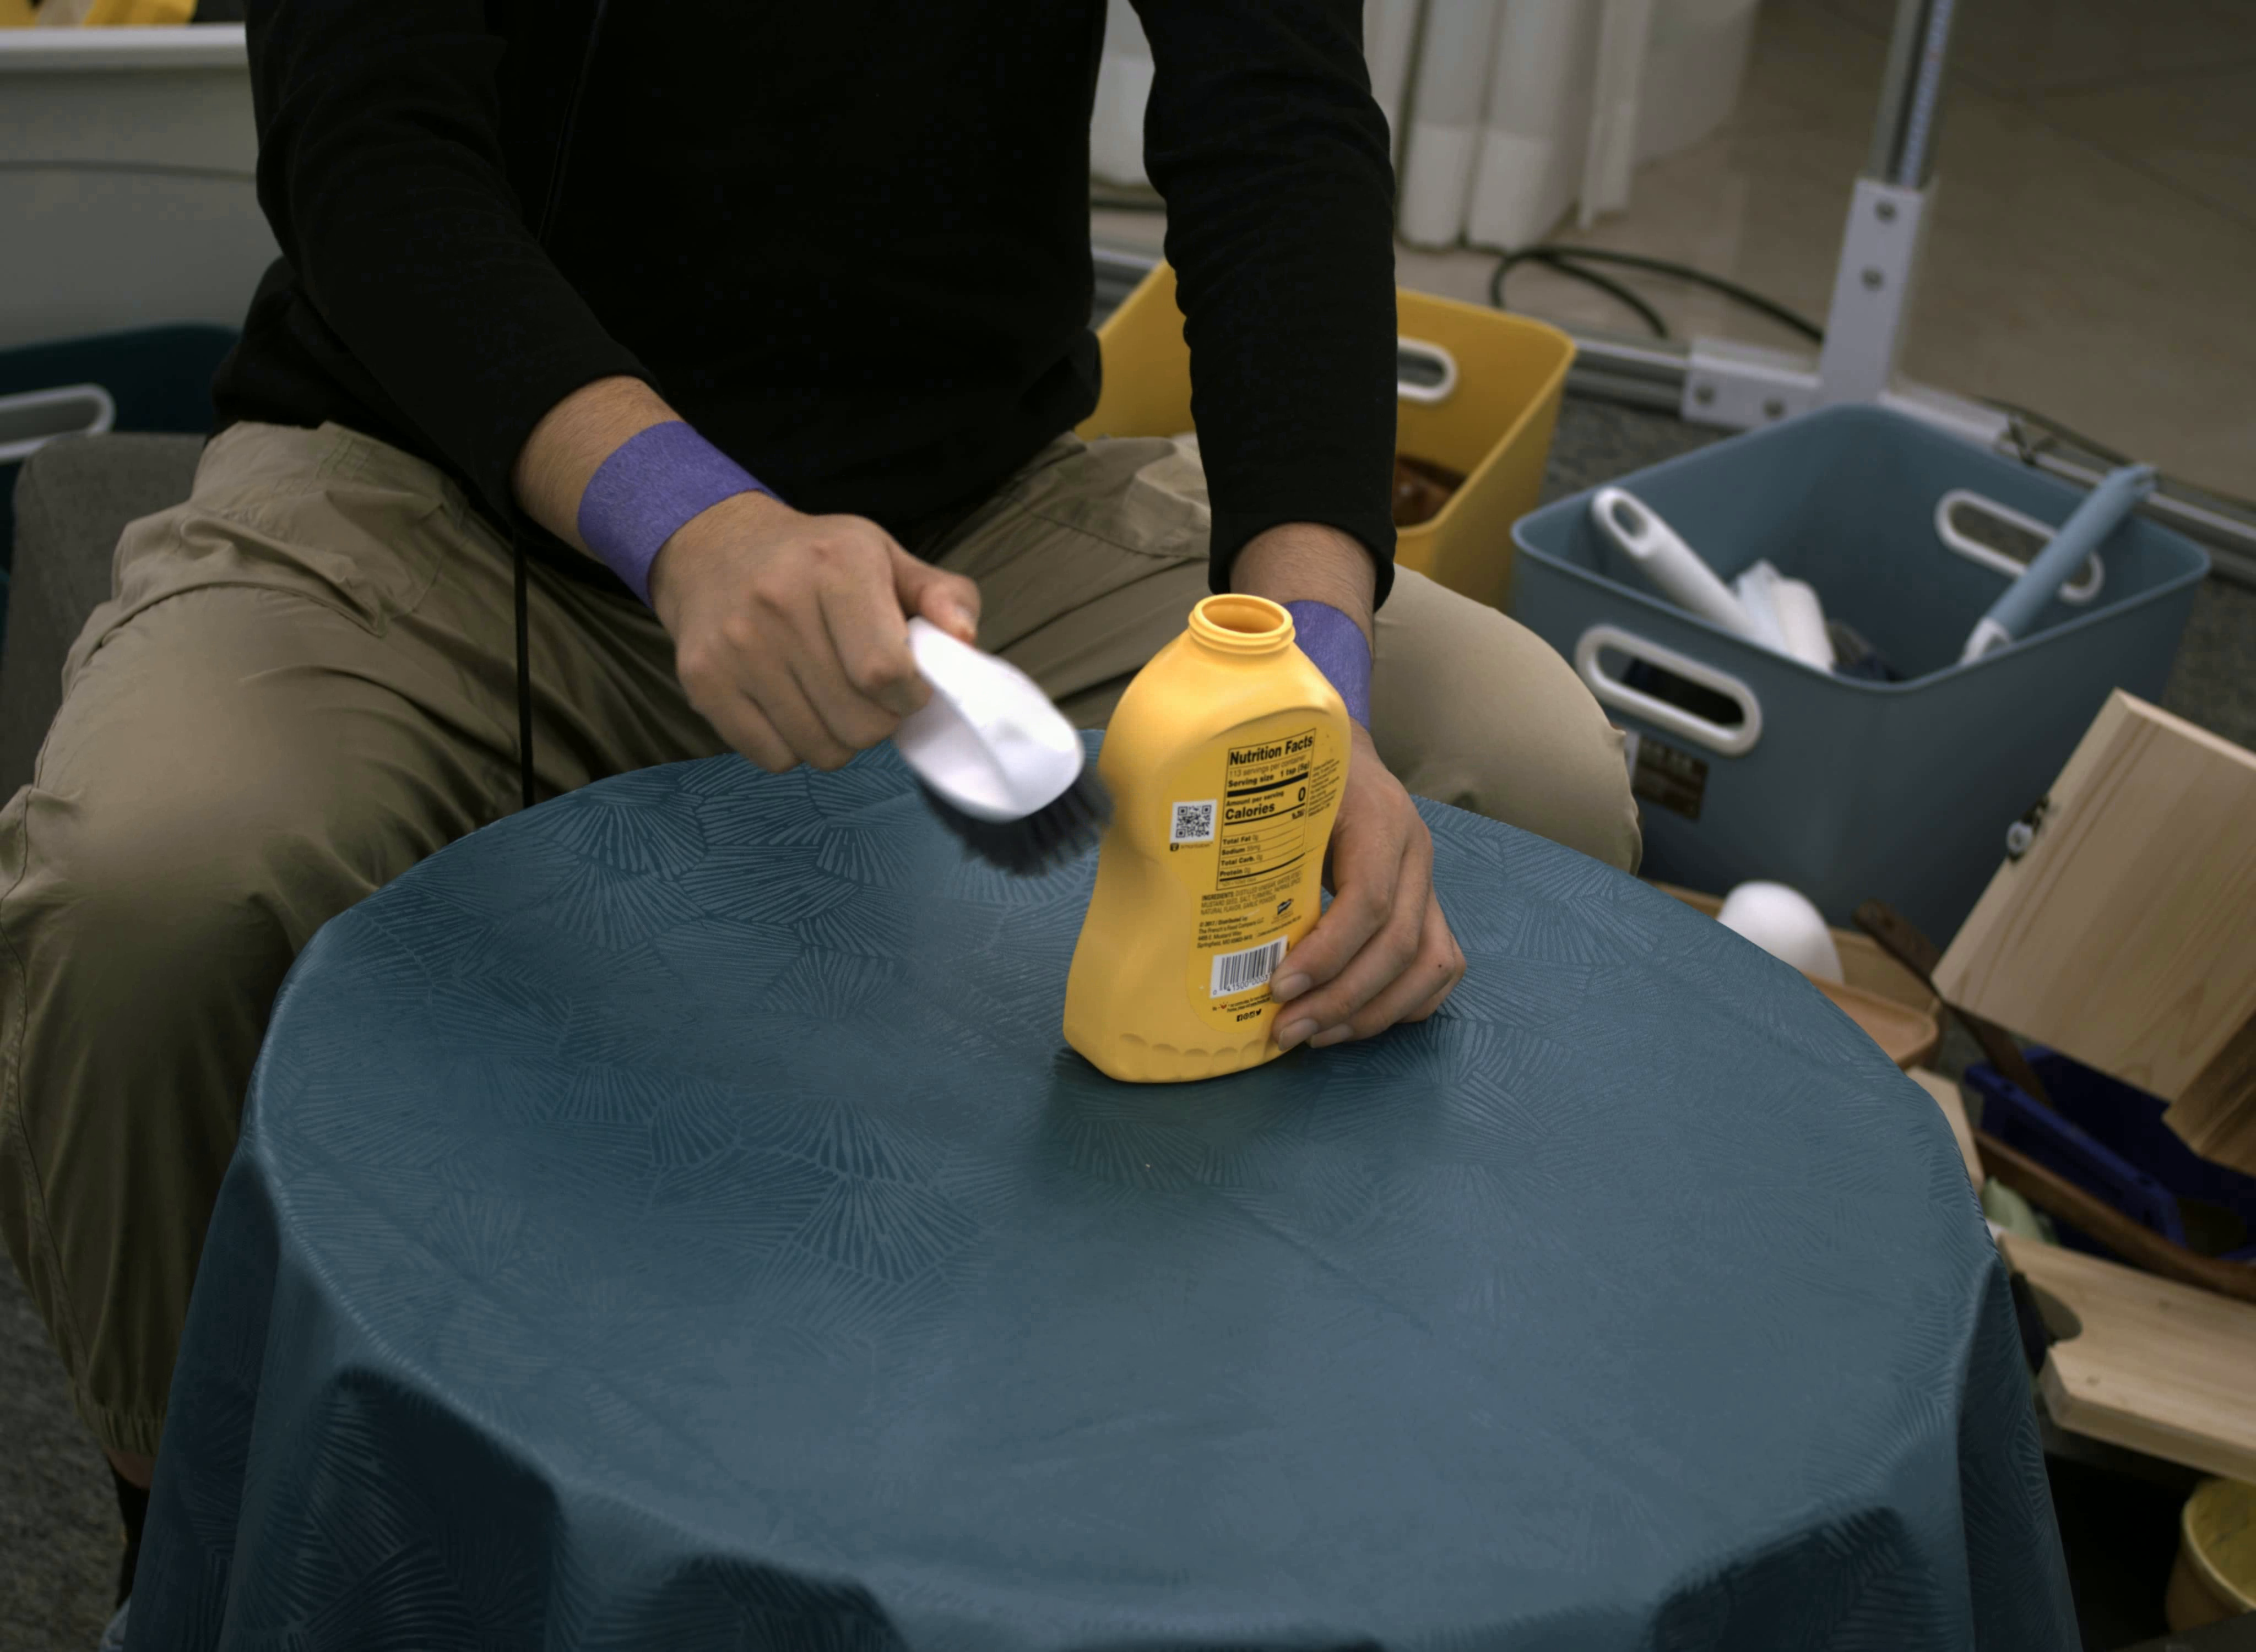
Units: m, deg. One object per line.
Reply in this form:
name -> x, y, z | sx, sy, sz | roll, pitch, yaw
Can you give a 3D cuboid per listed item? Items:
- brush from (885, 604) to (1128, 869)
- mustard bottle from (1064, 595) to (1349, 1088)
brush -> -0.049, -0.038, 1.790 | 0.050, 0.072, 0.100 | -38, 39, -7
mustard bottle -> 0.029, 0.004, 1.858 | 0.097, 0.171, 0.060 | -14, 30, -33
